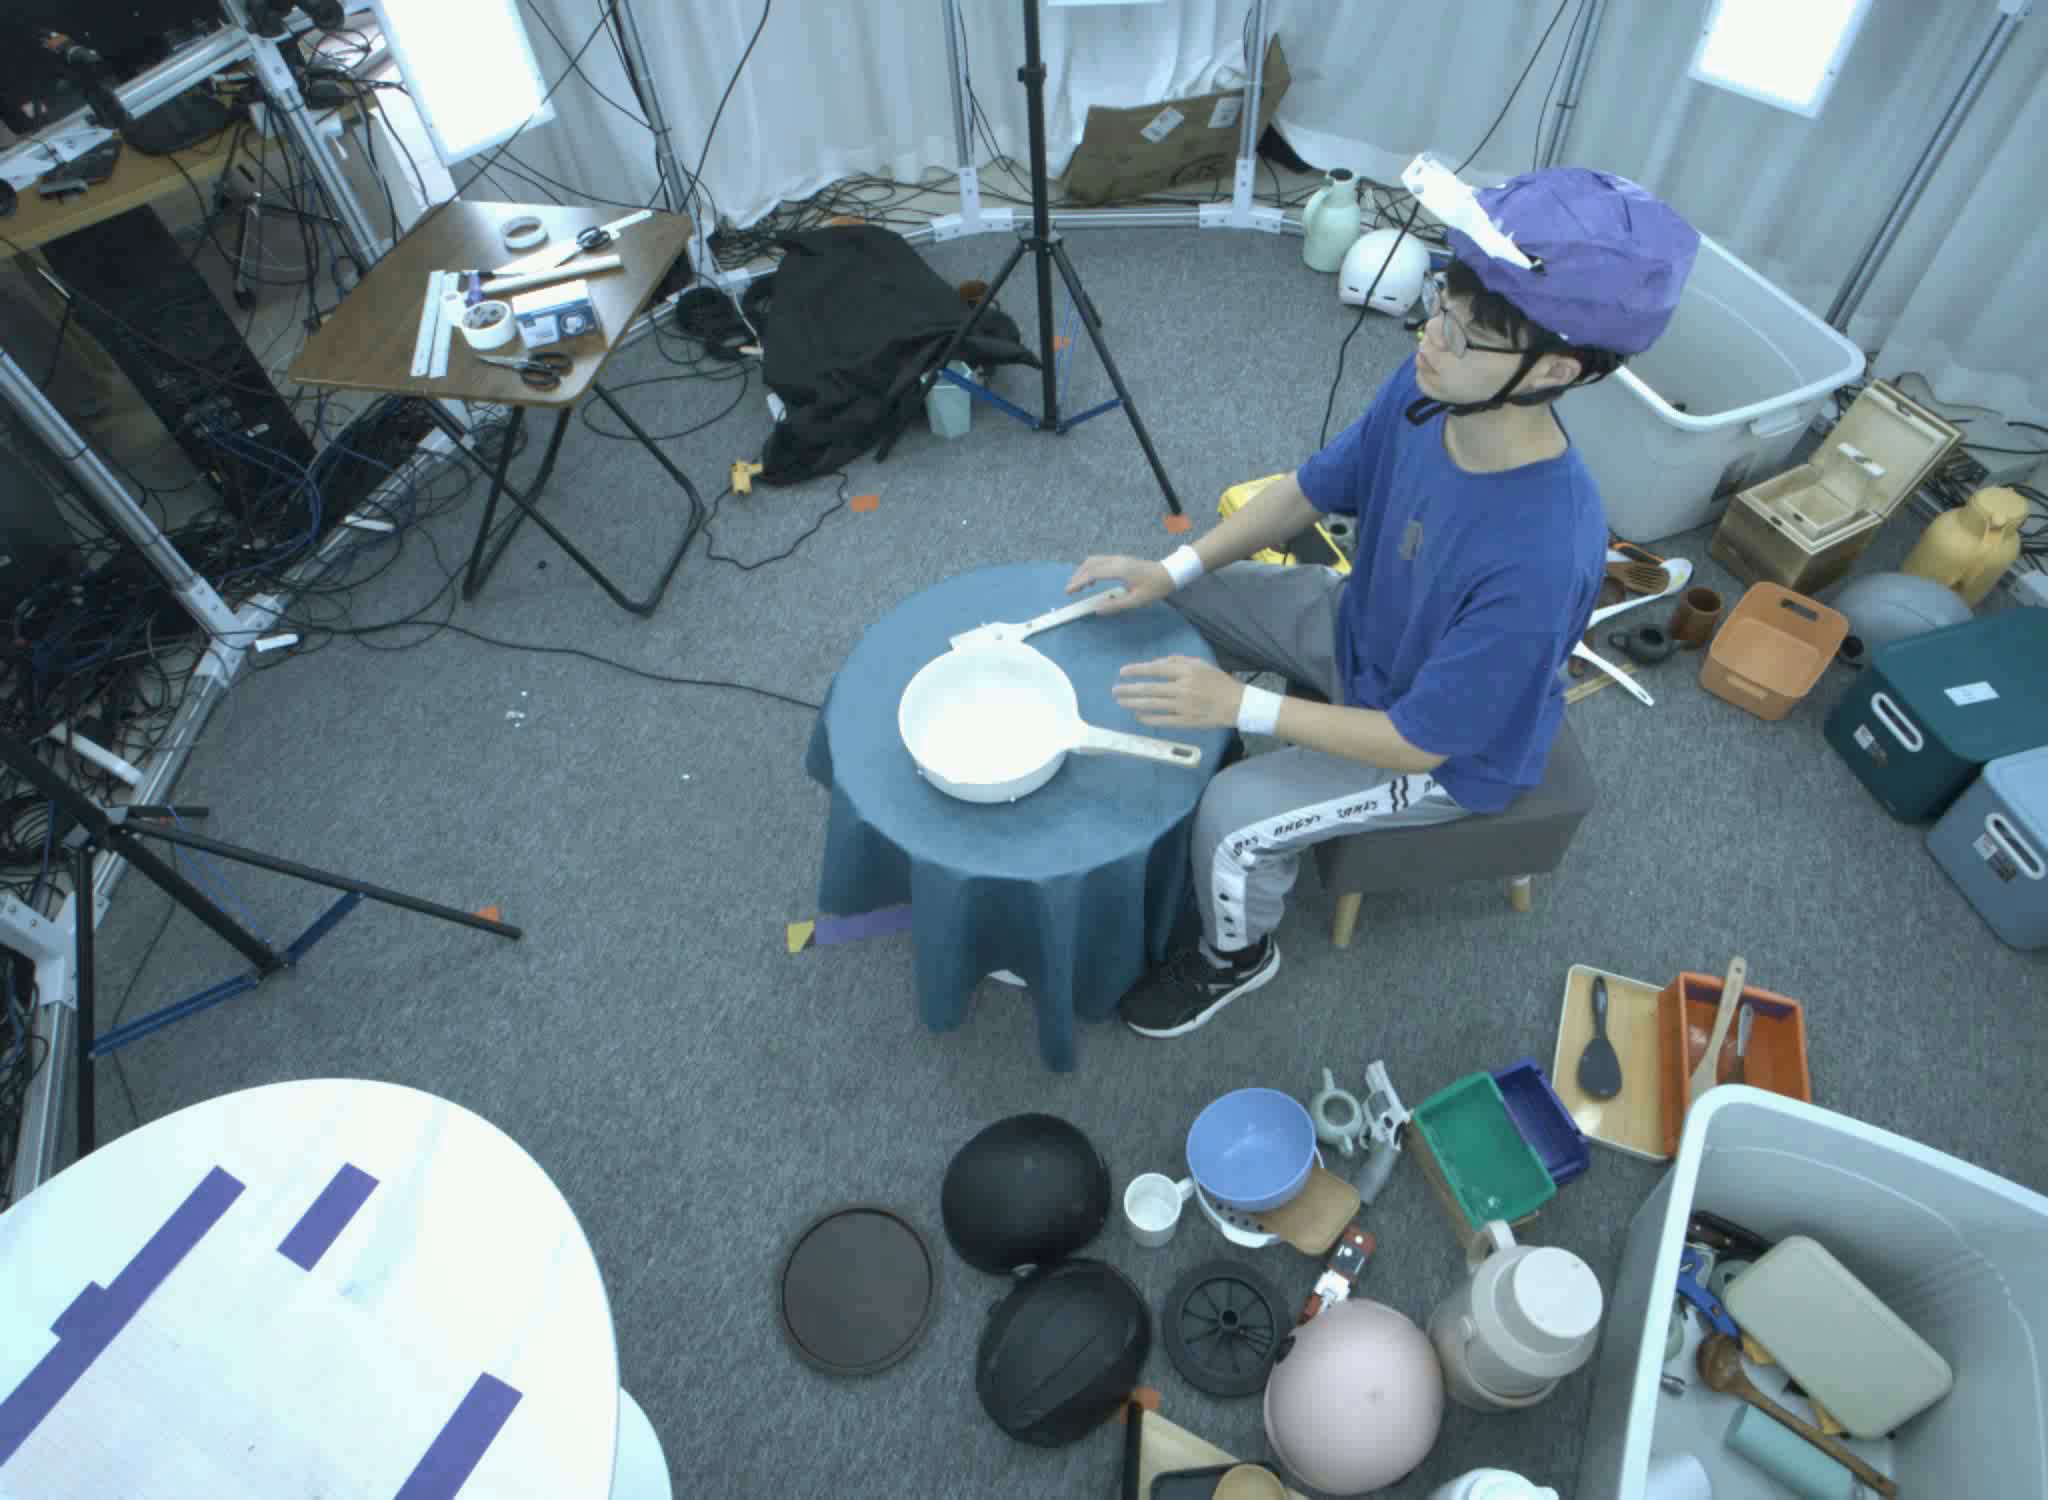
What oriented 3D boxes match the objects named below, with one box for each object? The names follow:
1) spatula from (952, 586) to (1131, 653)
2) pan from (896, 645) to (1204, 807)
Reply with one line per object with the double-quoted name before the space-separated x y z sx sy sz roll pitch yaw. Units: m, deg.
"spatula" 0.032 -0.199 1.914 0.295 0.011 0.071 -22 55 -13
"pan" 0.035 -0.011 1.723 0.431 0.103 0.263 14 54 12
